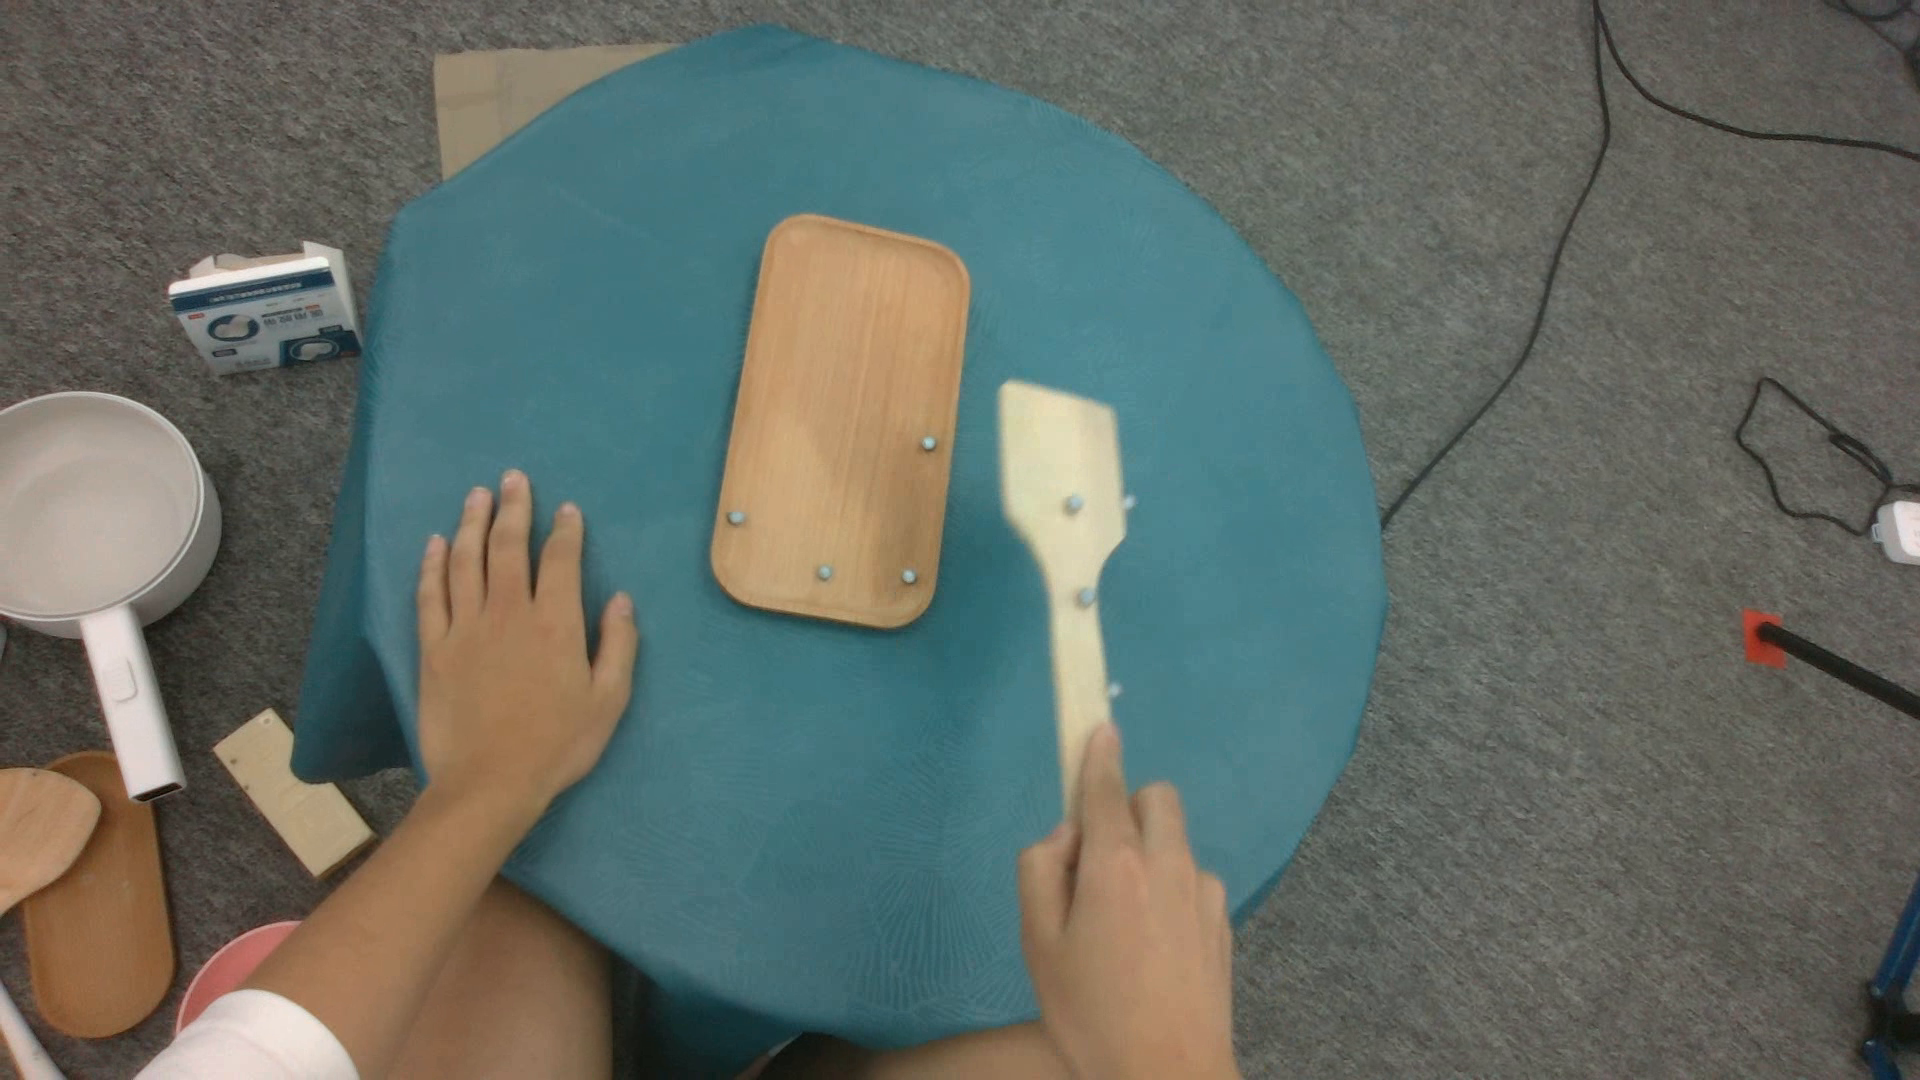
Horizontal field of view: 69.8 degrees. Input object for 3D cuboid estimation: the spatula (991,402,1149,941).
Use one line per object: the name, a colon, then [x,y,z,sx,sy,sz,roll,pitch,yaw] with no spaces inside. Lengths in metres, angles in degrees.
spatula: [0.060,0.051,0.672,0.072,0.010,0.294,9,53,-20]

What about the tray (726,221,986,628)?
tray: [-0.059,-0.073,0.819,0.130,0.023,0.251,12,68,-11]
